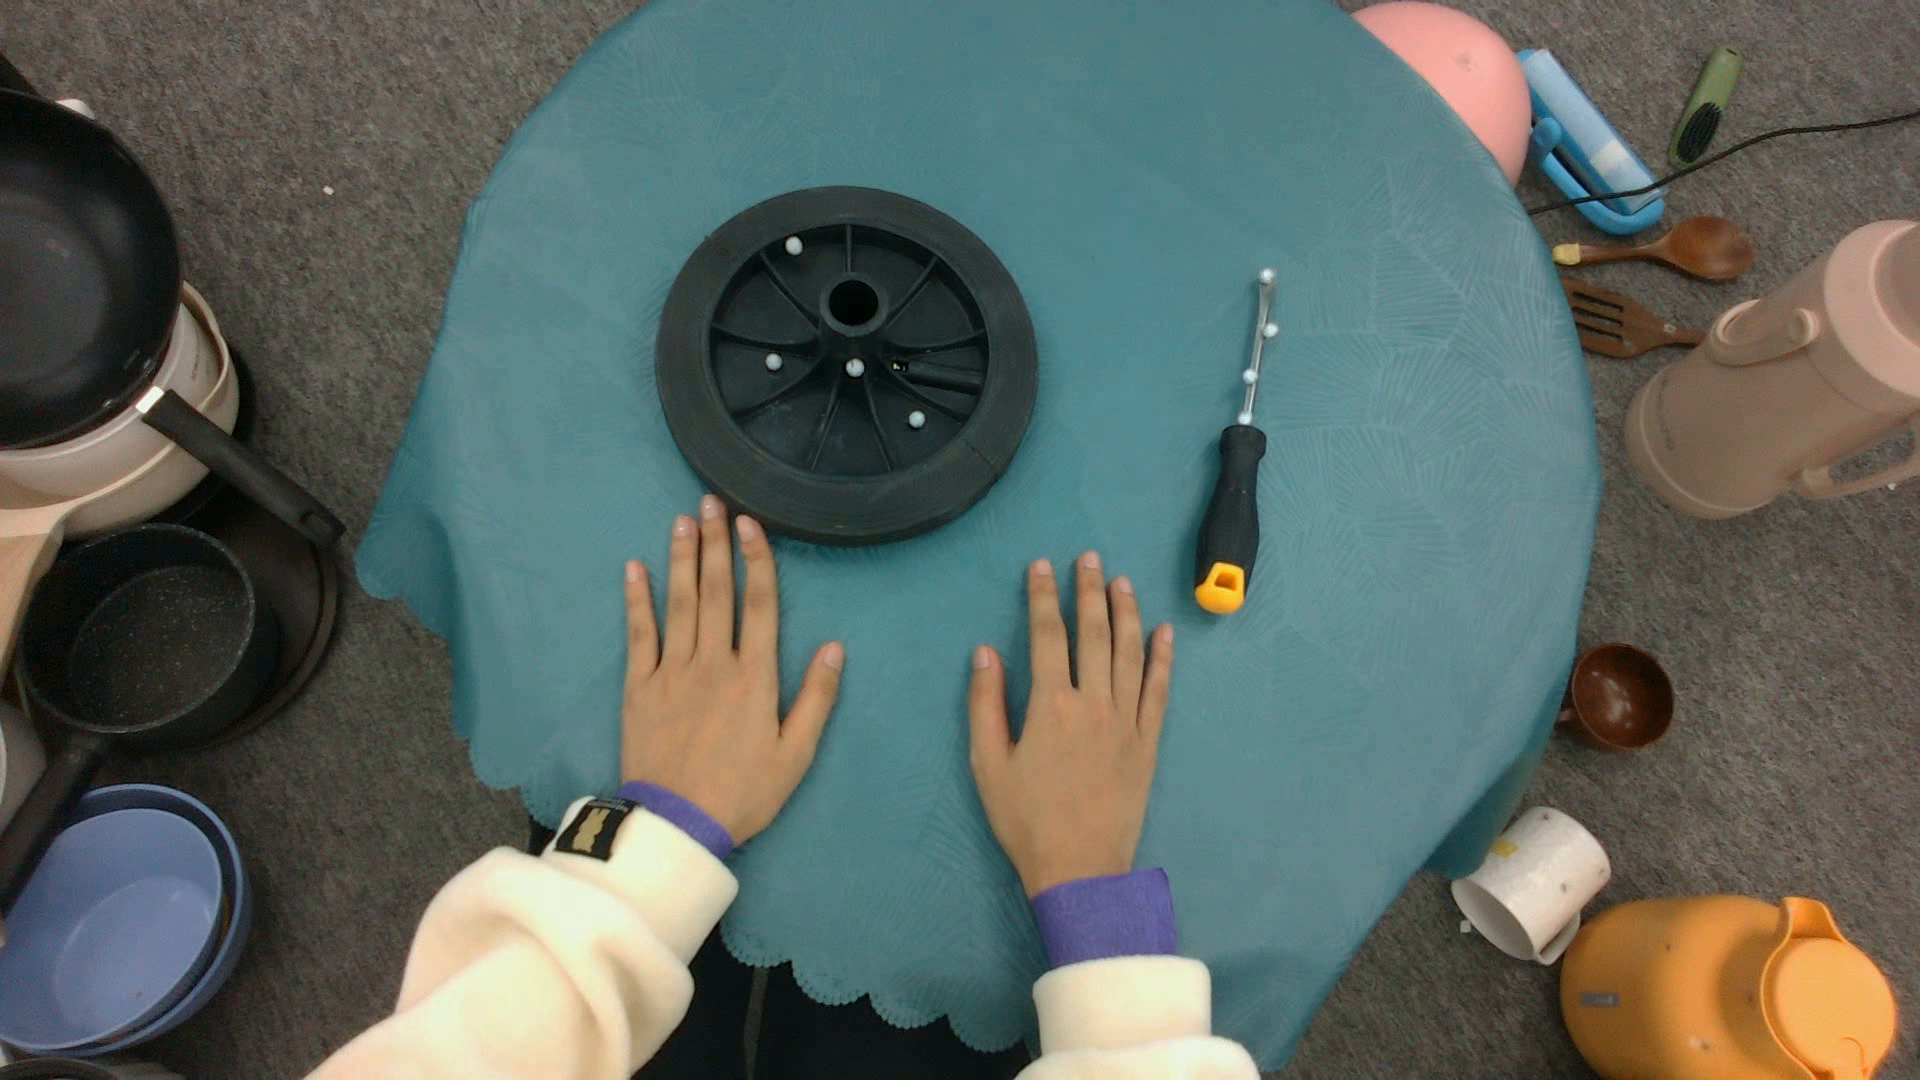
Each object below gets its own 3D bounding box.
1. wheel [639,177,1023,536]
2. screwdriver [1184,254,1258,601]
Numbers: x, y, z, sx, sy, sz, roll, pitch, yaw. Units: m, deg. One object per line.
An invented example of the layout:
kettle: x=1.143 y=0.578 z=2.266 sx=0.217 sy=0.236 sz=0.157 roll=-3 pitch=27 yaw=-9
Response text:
wheel: x=-0.059 y=-0.100 z=0.662 sx=0.190 sy=0.079 sz=0.188 roll=-12 pitch=75 yaw=-14
screwdriver: x=0.141 y=-0.062 z=0.701 sx=0.031 sy=0.031 sz=0.198 roll=15 pitch=69 yaw=-2
